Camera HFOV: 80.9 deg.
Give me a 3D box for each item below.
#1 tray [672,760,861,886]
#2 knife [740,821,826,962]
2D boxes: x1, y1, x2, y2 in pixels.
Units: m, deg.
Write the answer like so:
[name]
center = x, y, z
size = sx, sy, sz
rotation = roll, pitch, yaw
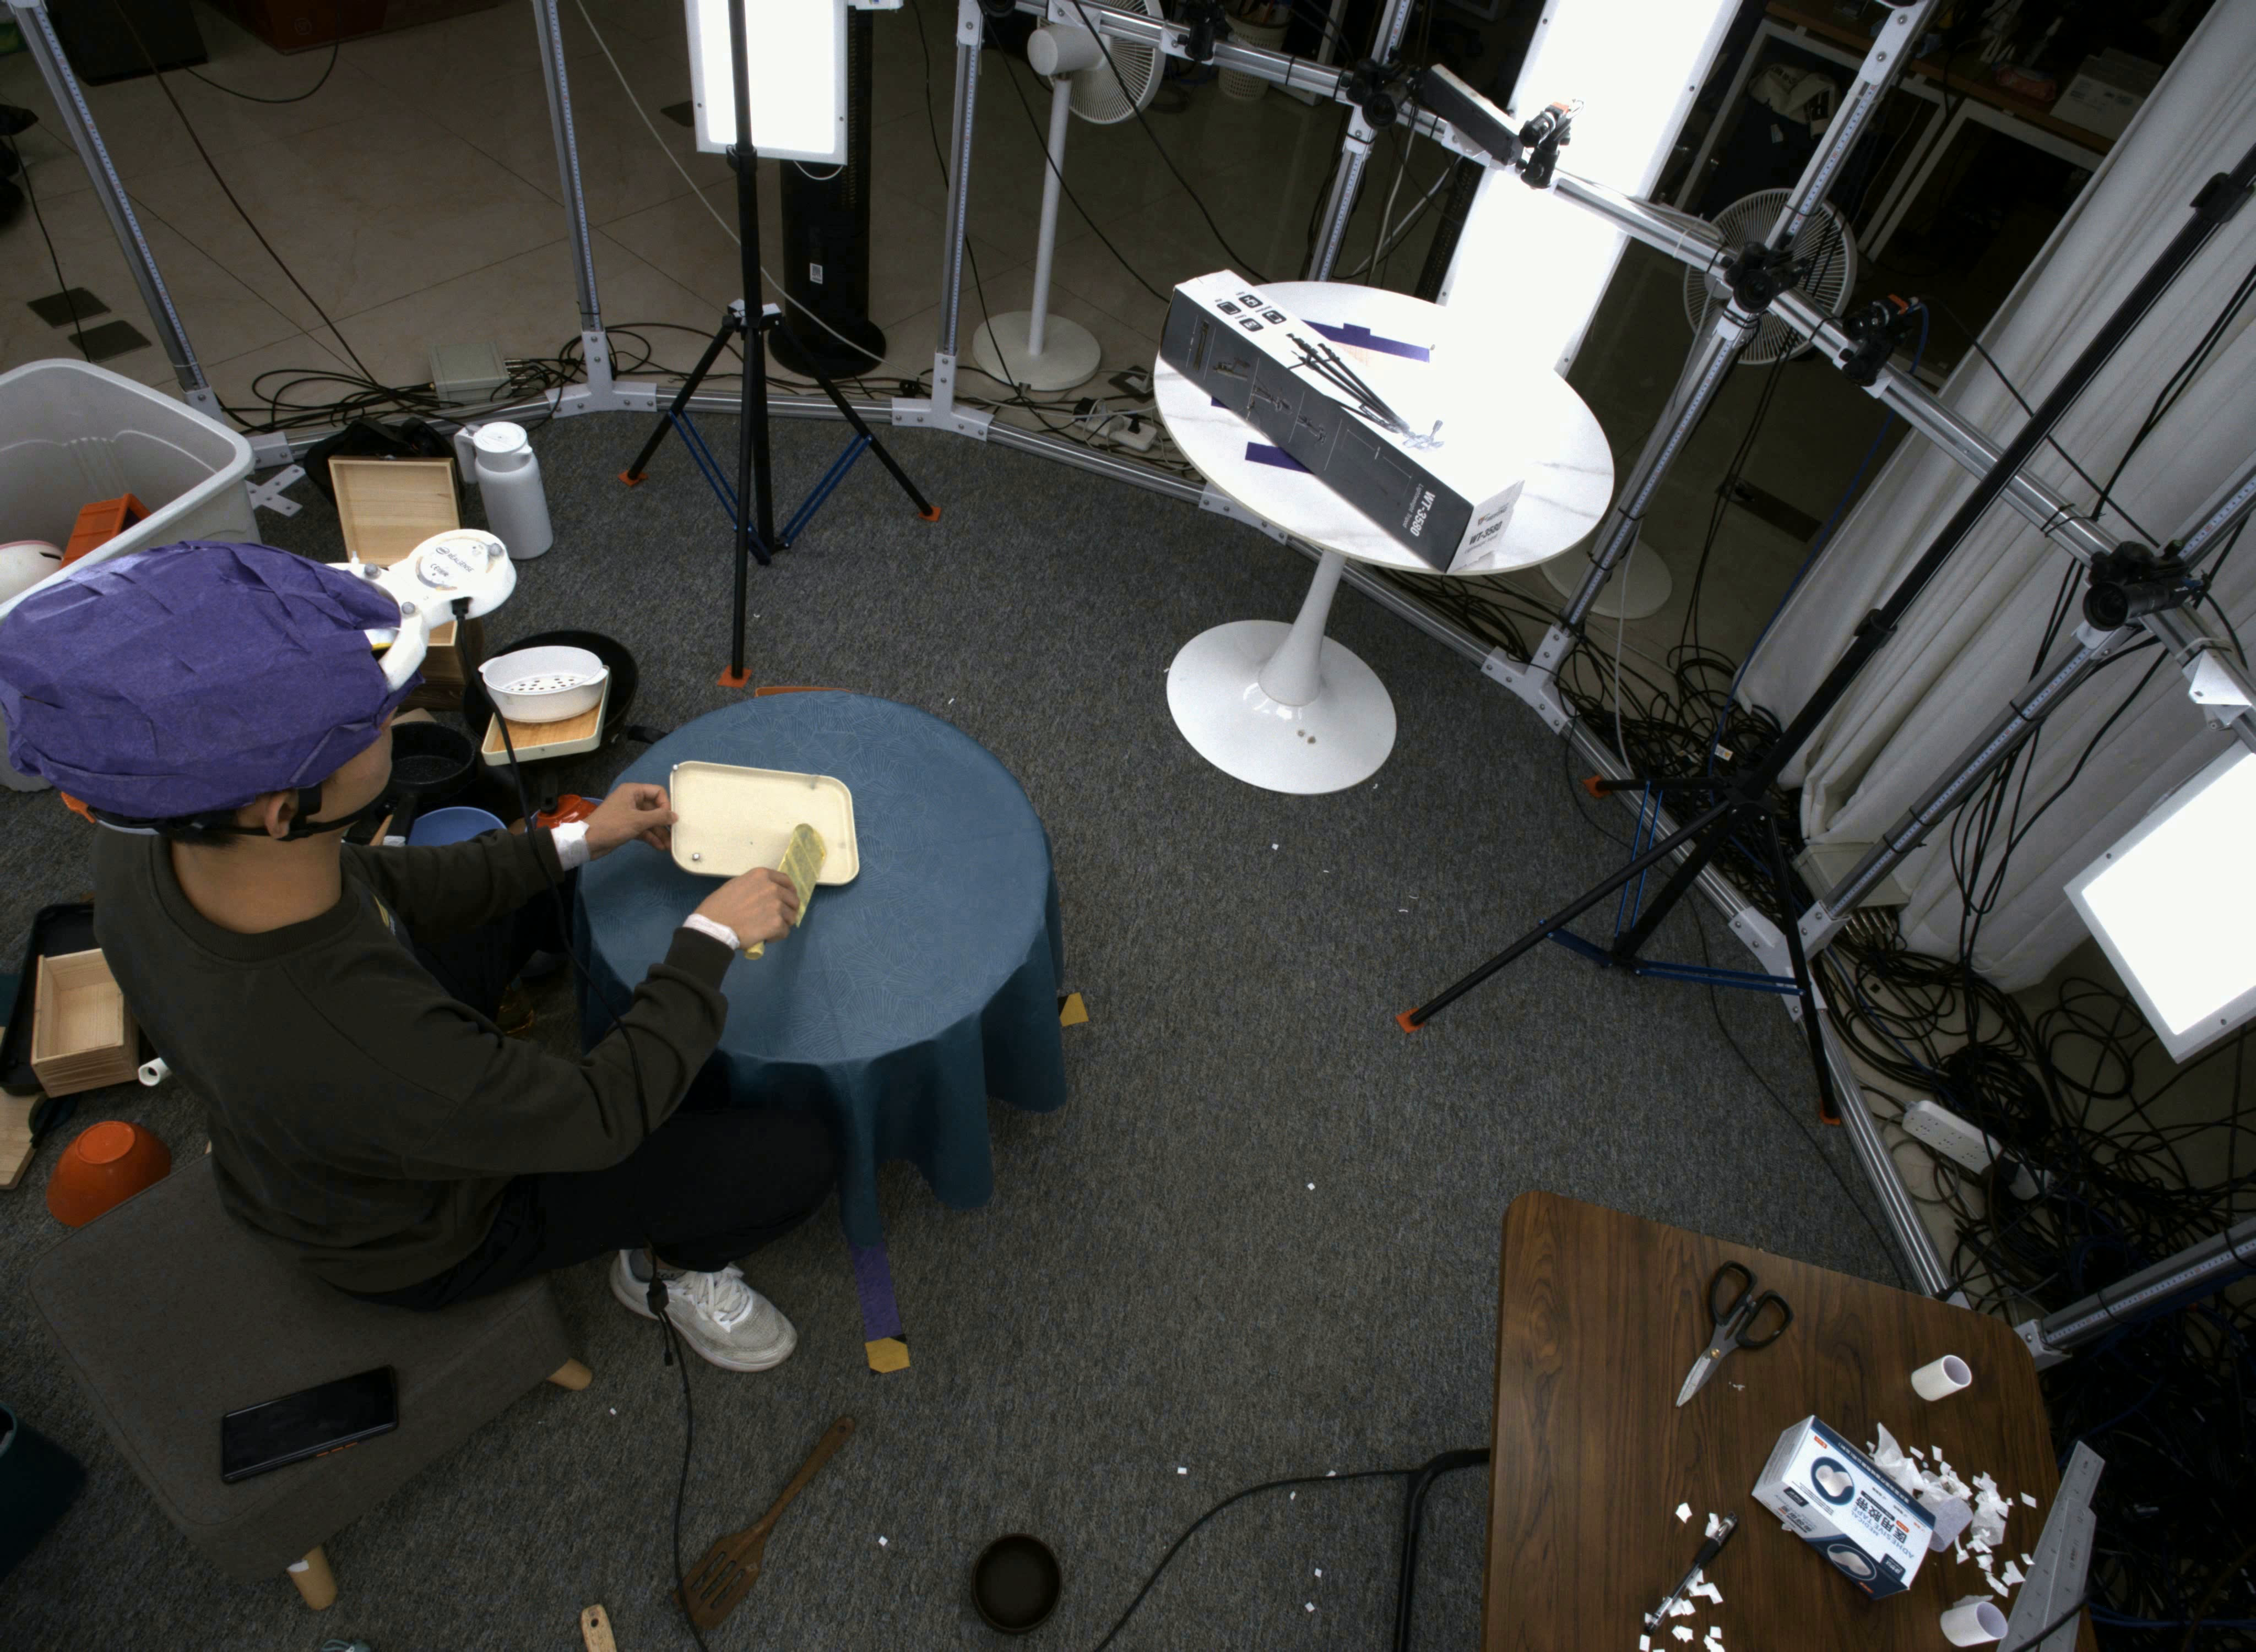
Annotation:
[tray]
center = -0.467, -0.003, 1.671
size = 0.244, 0.017, 0.168
rotation = 6, 57, -31
[knife]
center = -0.411, 0.080, 1.573
size = 0.027, 0.084, 0.284
rotation = -14, 28, 14
